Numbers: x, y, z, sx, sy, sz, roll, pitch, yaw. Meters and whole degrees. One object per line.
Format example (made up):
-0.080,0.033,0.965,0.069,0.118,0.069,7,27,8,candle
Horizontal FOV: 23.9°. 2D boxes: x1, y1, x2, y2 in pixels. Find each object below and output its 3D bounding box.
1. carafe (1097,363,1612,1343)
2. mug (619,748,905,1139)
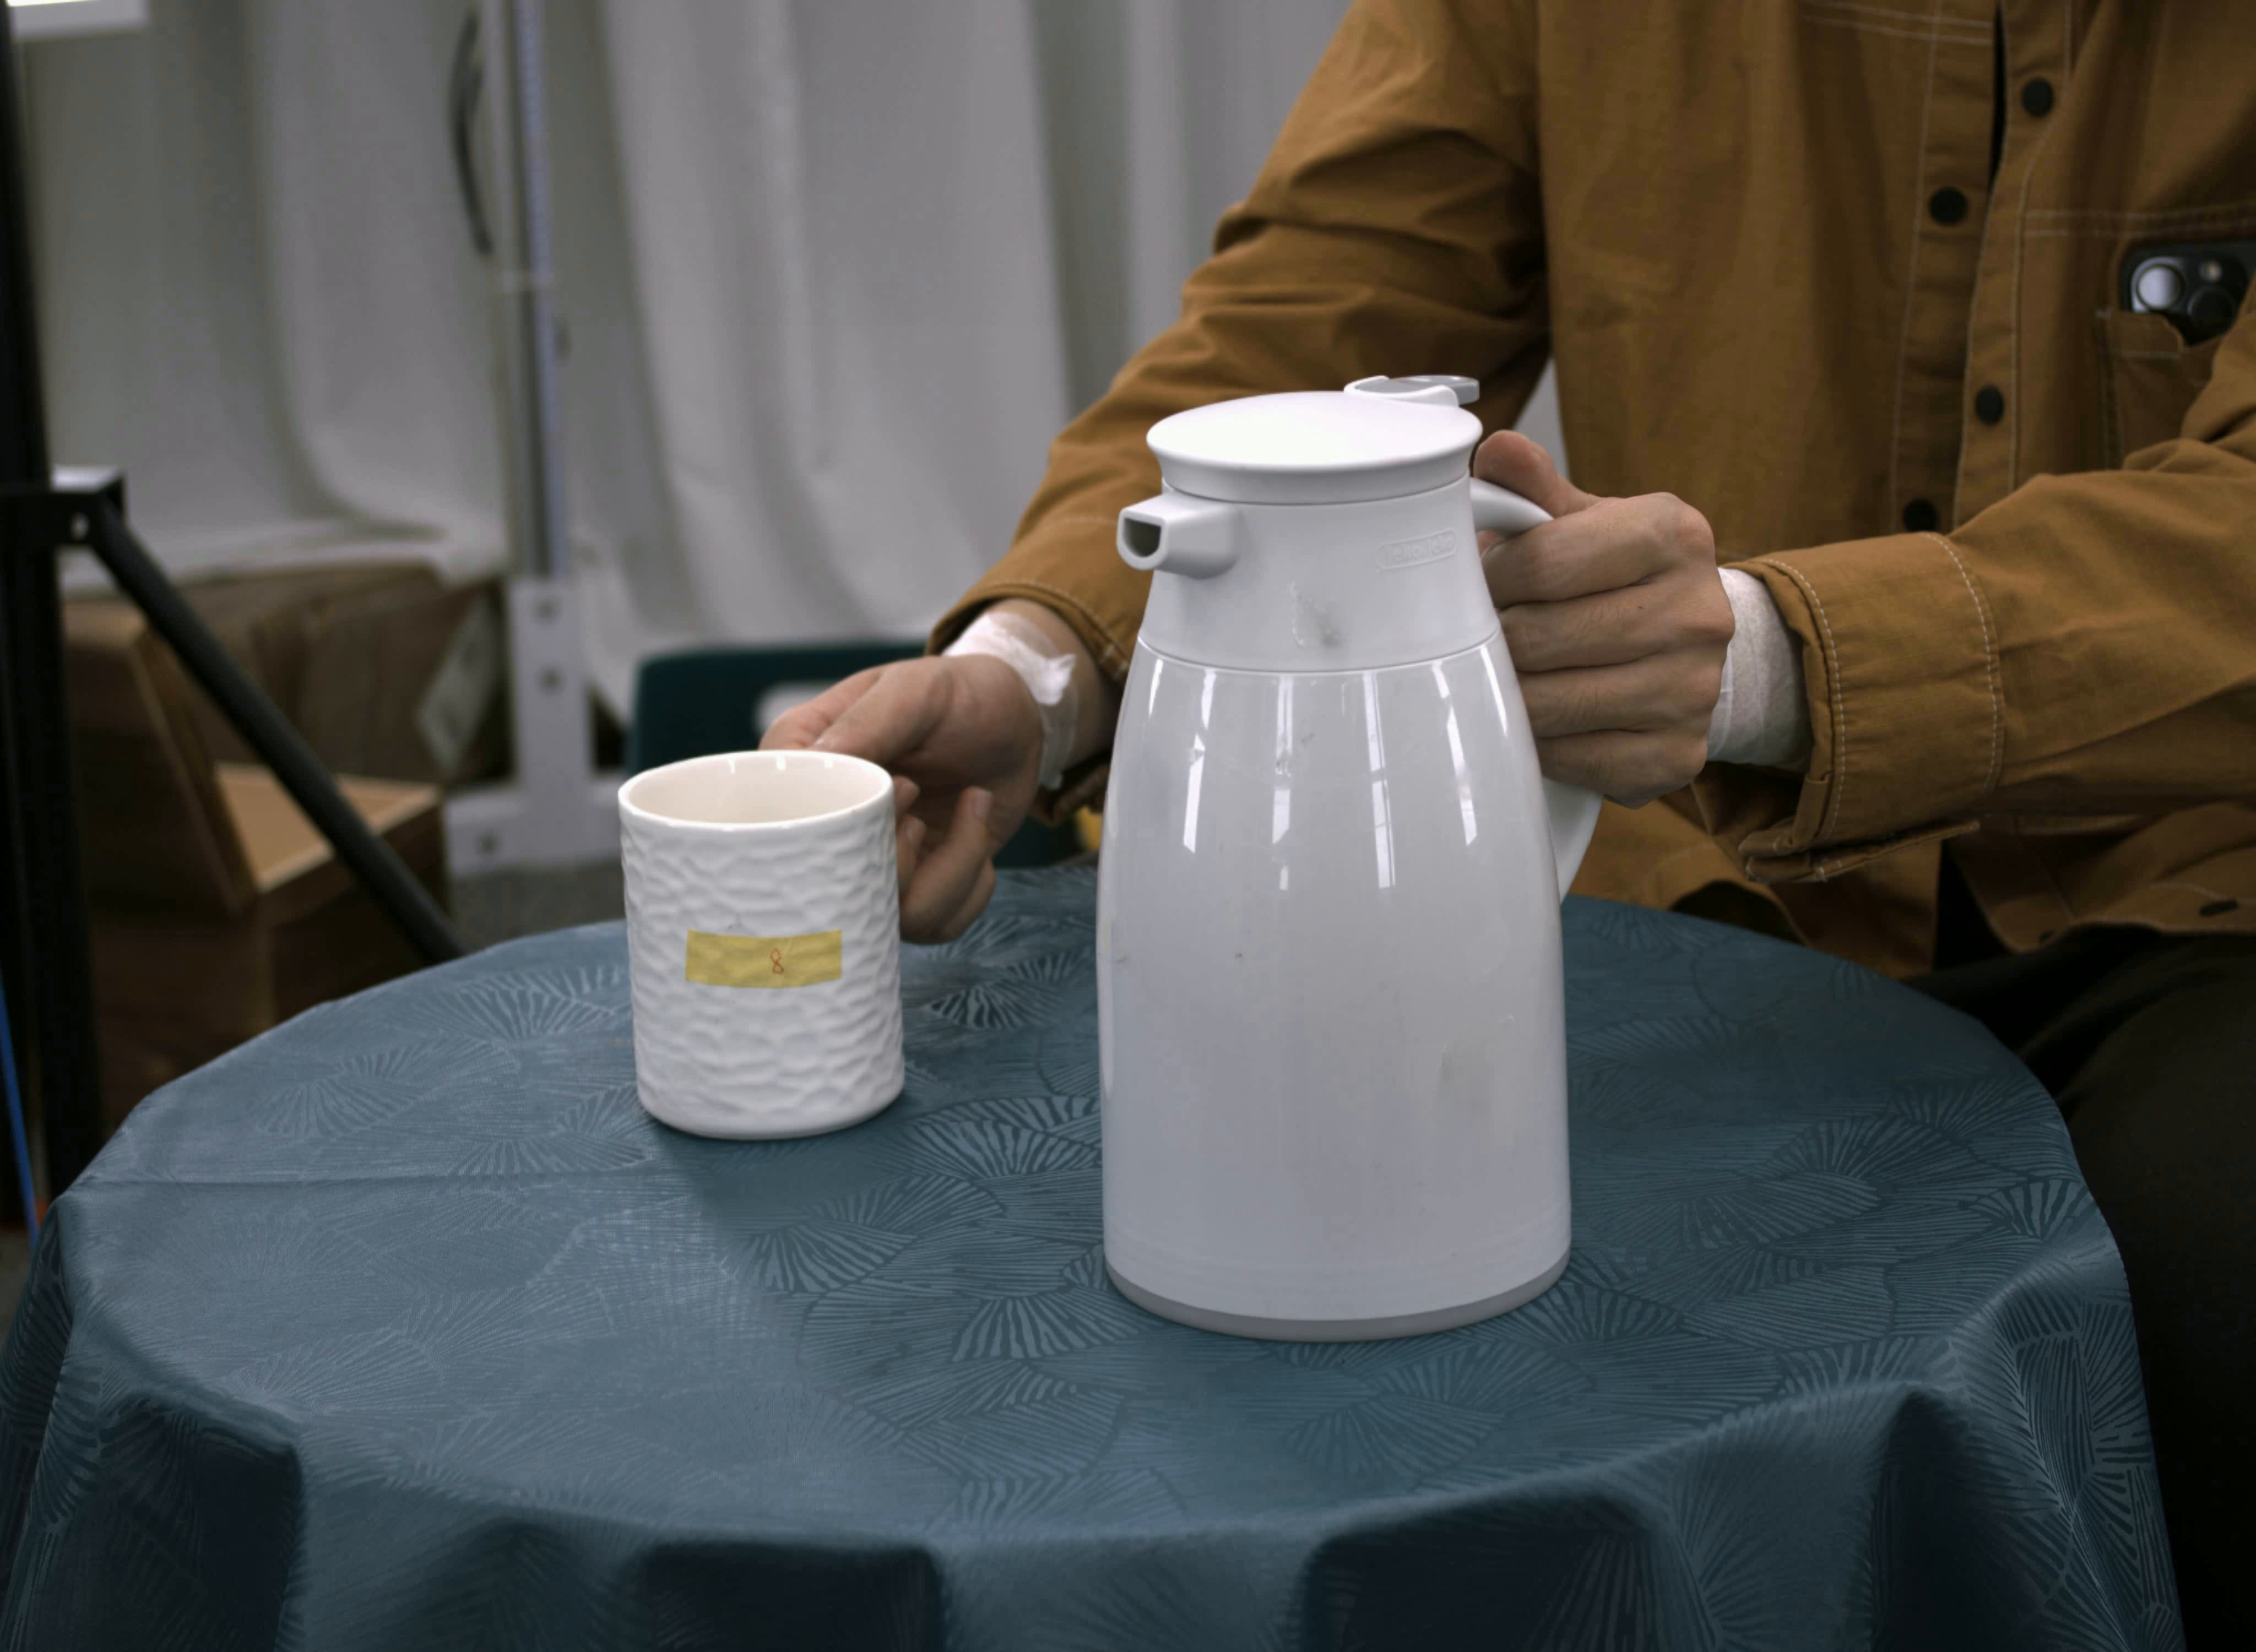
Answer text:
0.069,-0.001,1.473,0.164,0.248,0.135,-14,18,-38,carafe
-0.107,0.032,1.654,0.086,0.102,0.117,3,16,17,mug
